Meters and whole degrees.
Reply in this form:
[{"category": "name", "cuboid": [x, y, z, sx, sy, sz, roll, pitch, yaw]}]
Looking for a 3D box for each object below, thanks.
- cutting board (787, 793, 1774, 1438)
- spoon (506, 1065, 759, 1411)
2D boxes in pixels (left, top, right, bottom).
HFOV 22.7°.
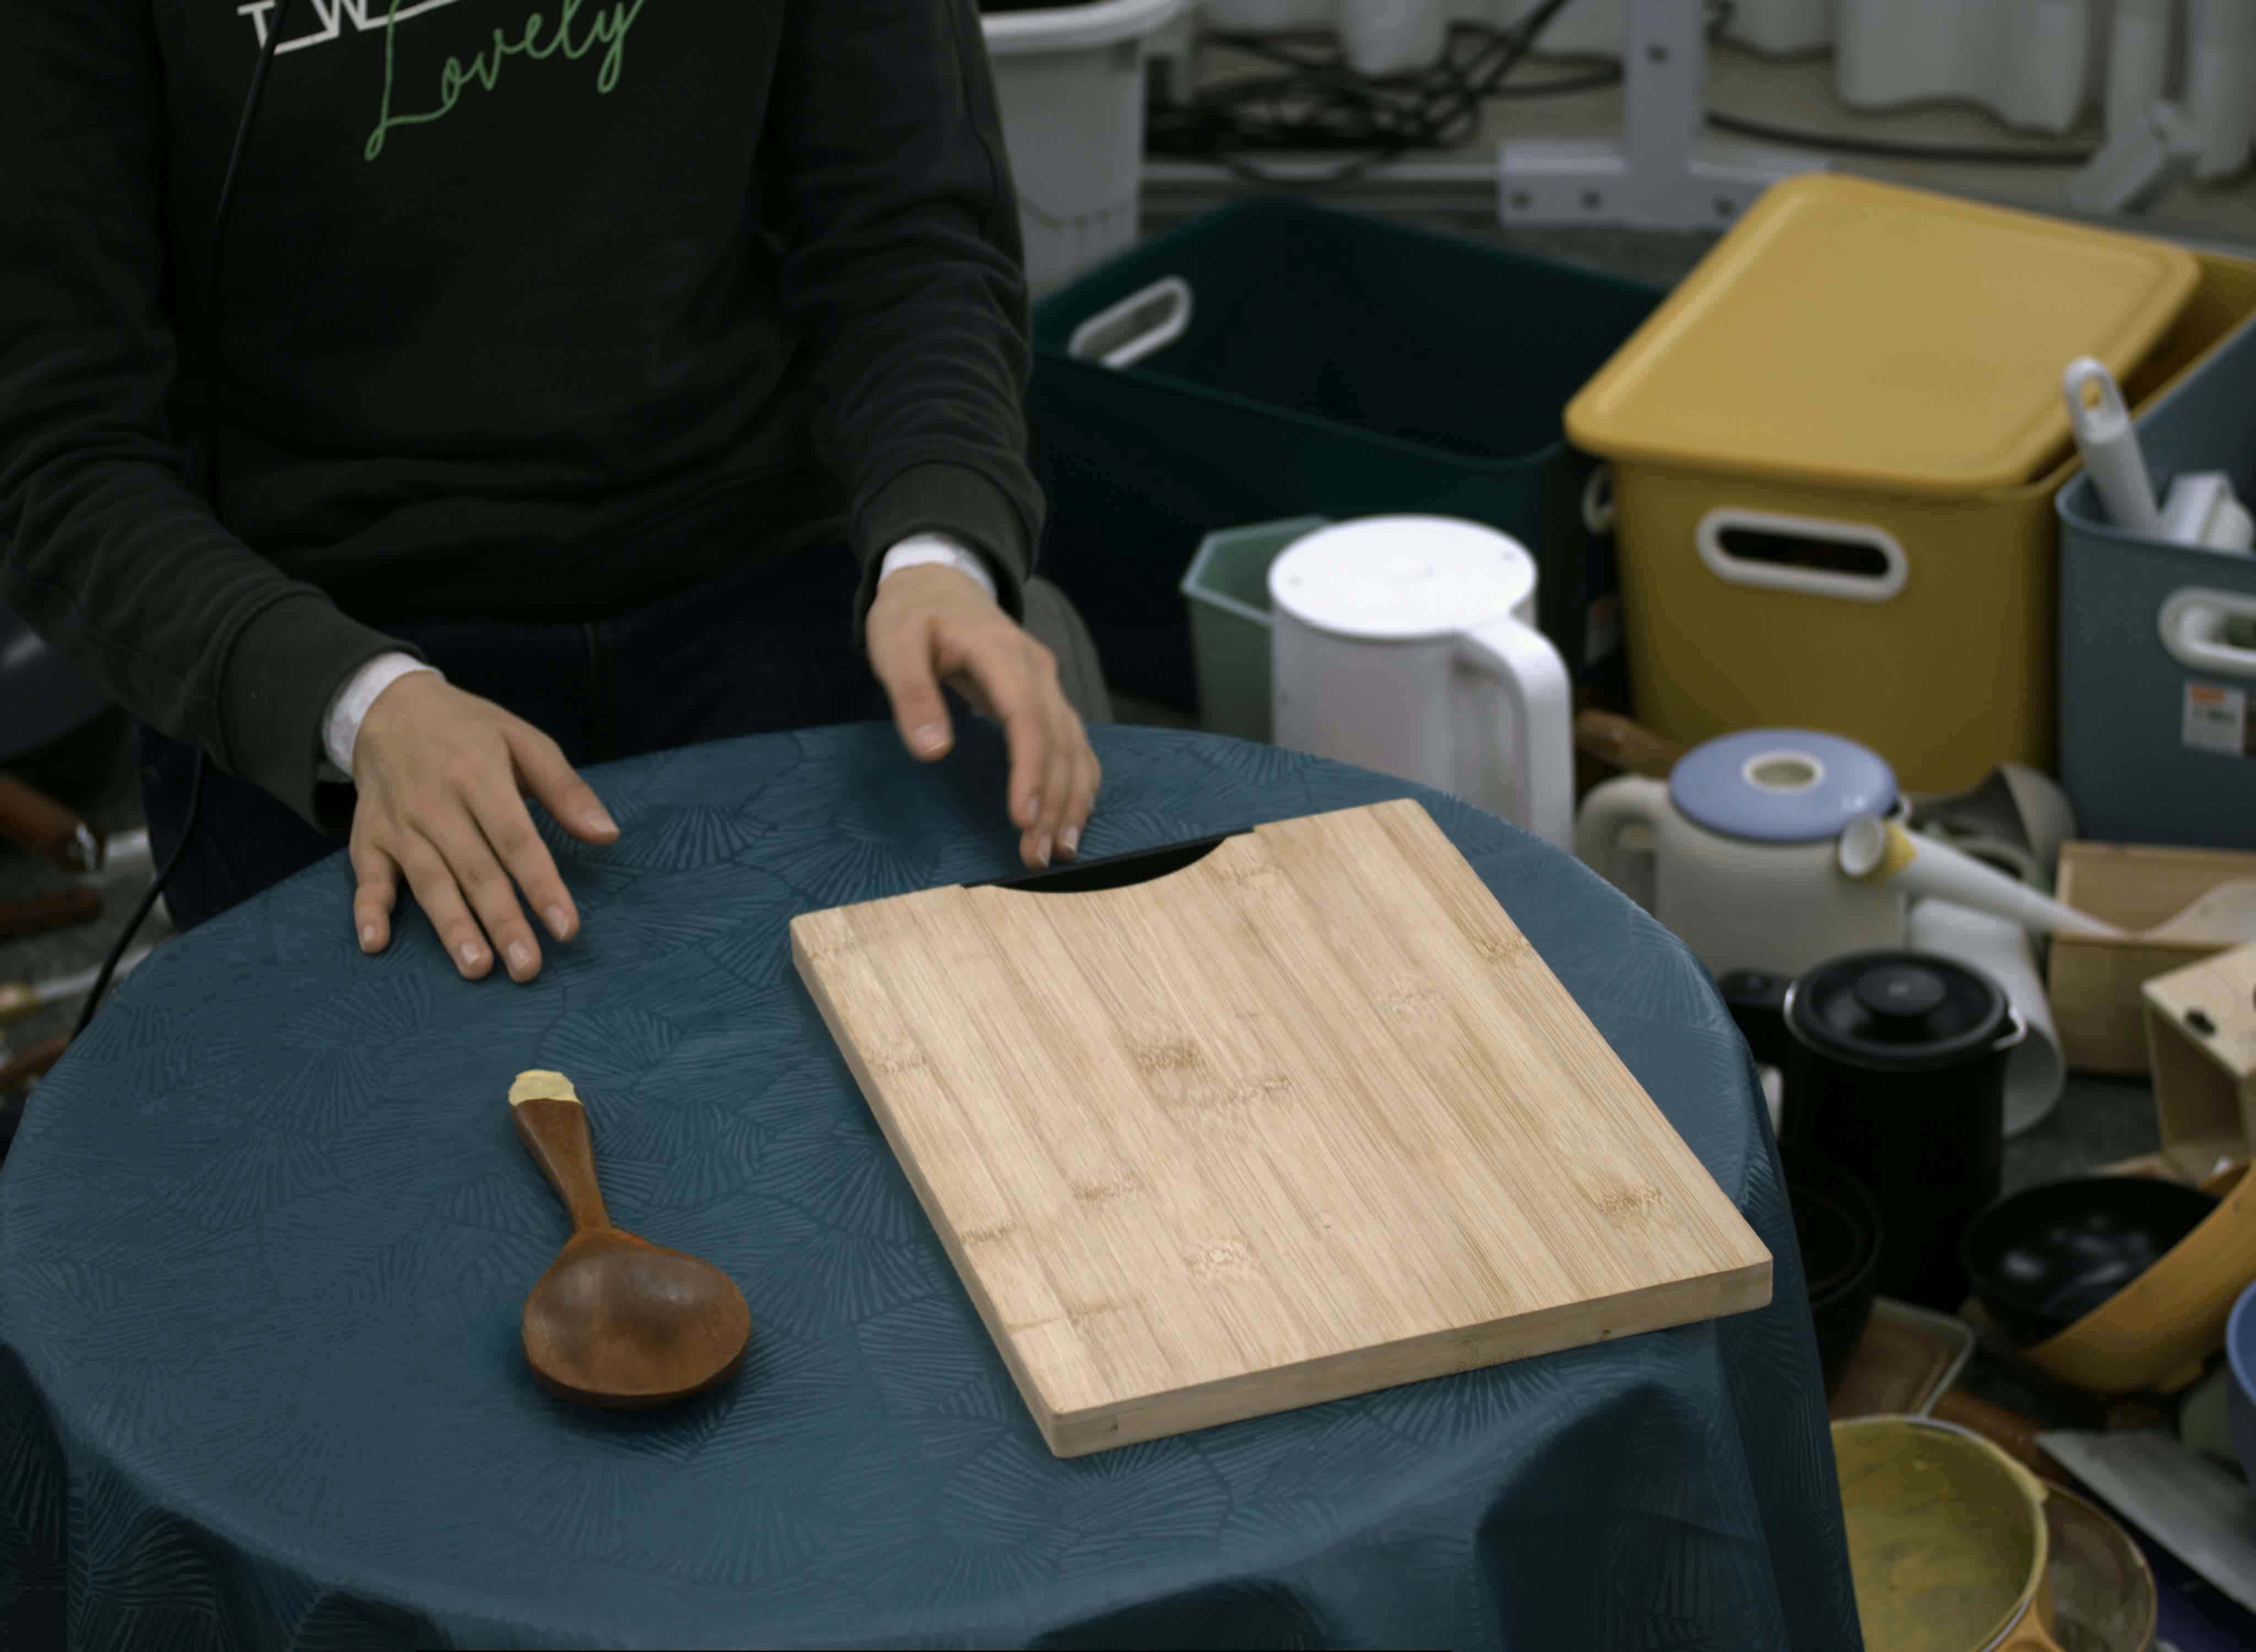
[{"category": "cutting board", "cuboid": [0.041, 0.091, 1.900, 0.251, 0.023, 0.352, -10, 28, -15]}, {"category": "spoon", "cuboid": [-0.172, 0.135, 1.833, 0.075, 0.017, 0.218, -11, 29, -12]}]
